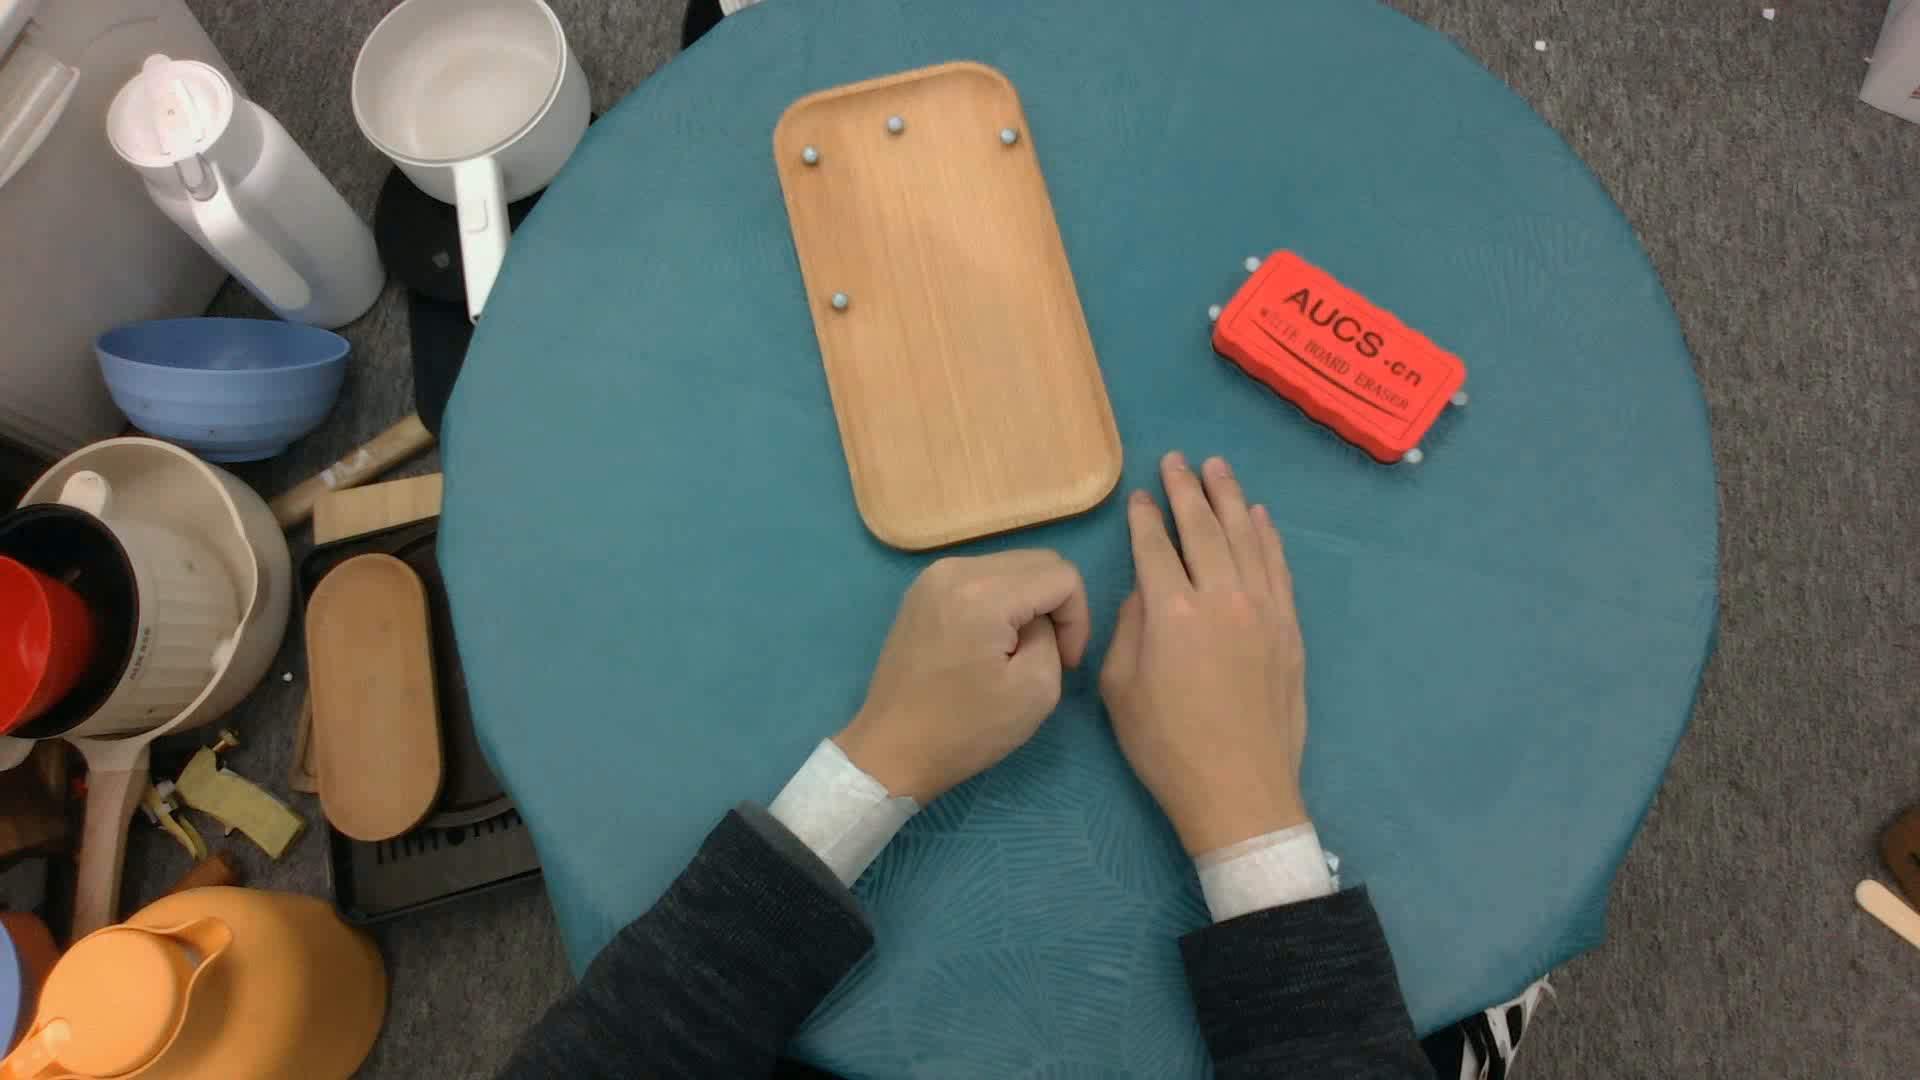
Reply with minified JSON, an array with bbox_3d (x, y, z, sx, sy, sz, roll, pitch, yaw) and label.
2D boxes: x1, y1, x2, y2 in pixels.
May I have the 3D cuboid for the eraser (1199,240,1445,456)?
[{"bbox_3d":[0.171,-0.092,0.655,0.108,0.023,0.059,38,75,12],"label":"eraser"}]

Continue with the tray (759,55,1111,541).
[{"bbox_3d":[-0.015,-0.123,0.670,0.130,0.023,0.251,-13,73,-1],"label":"tray"}]
